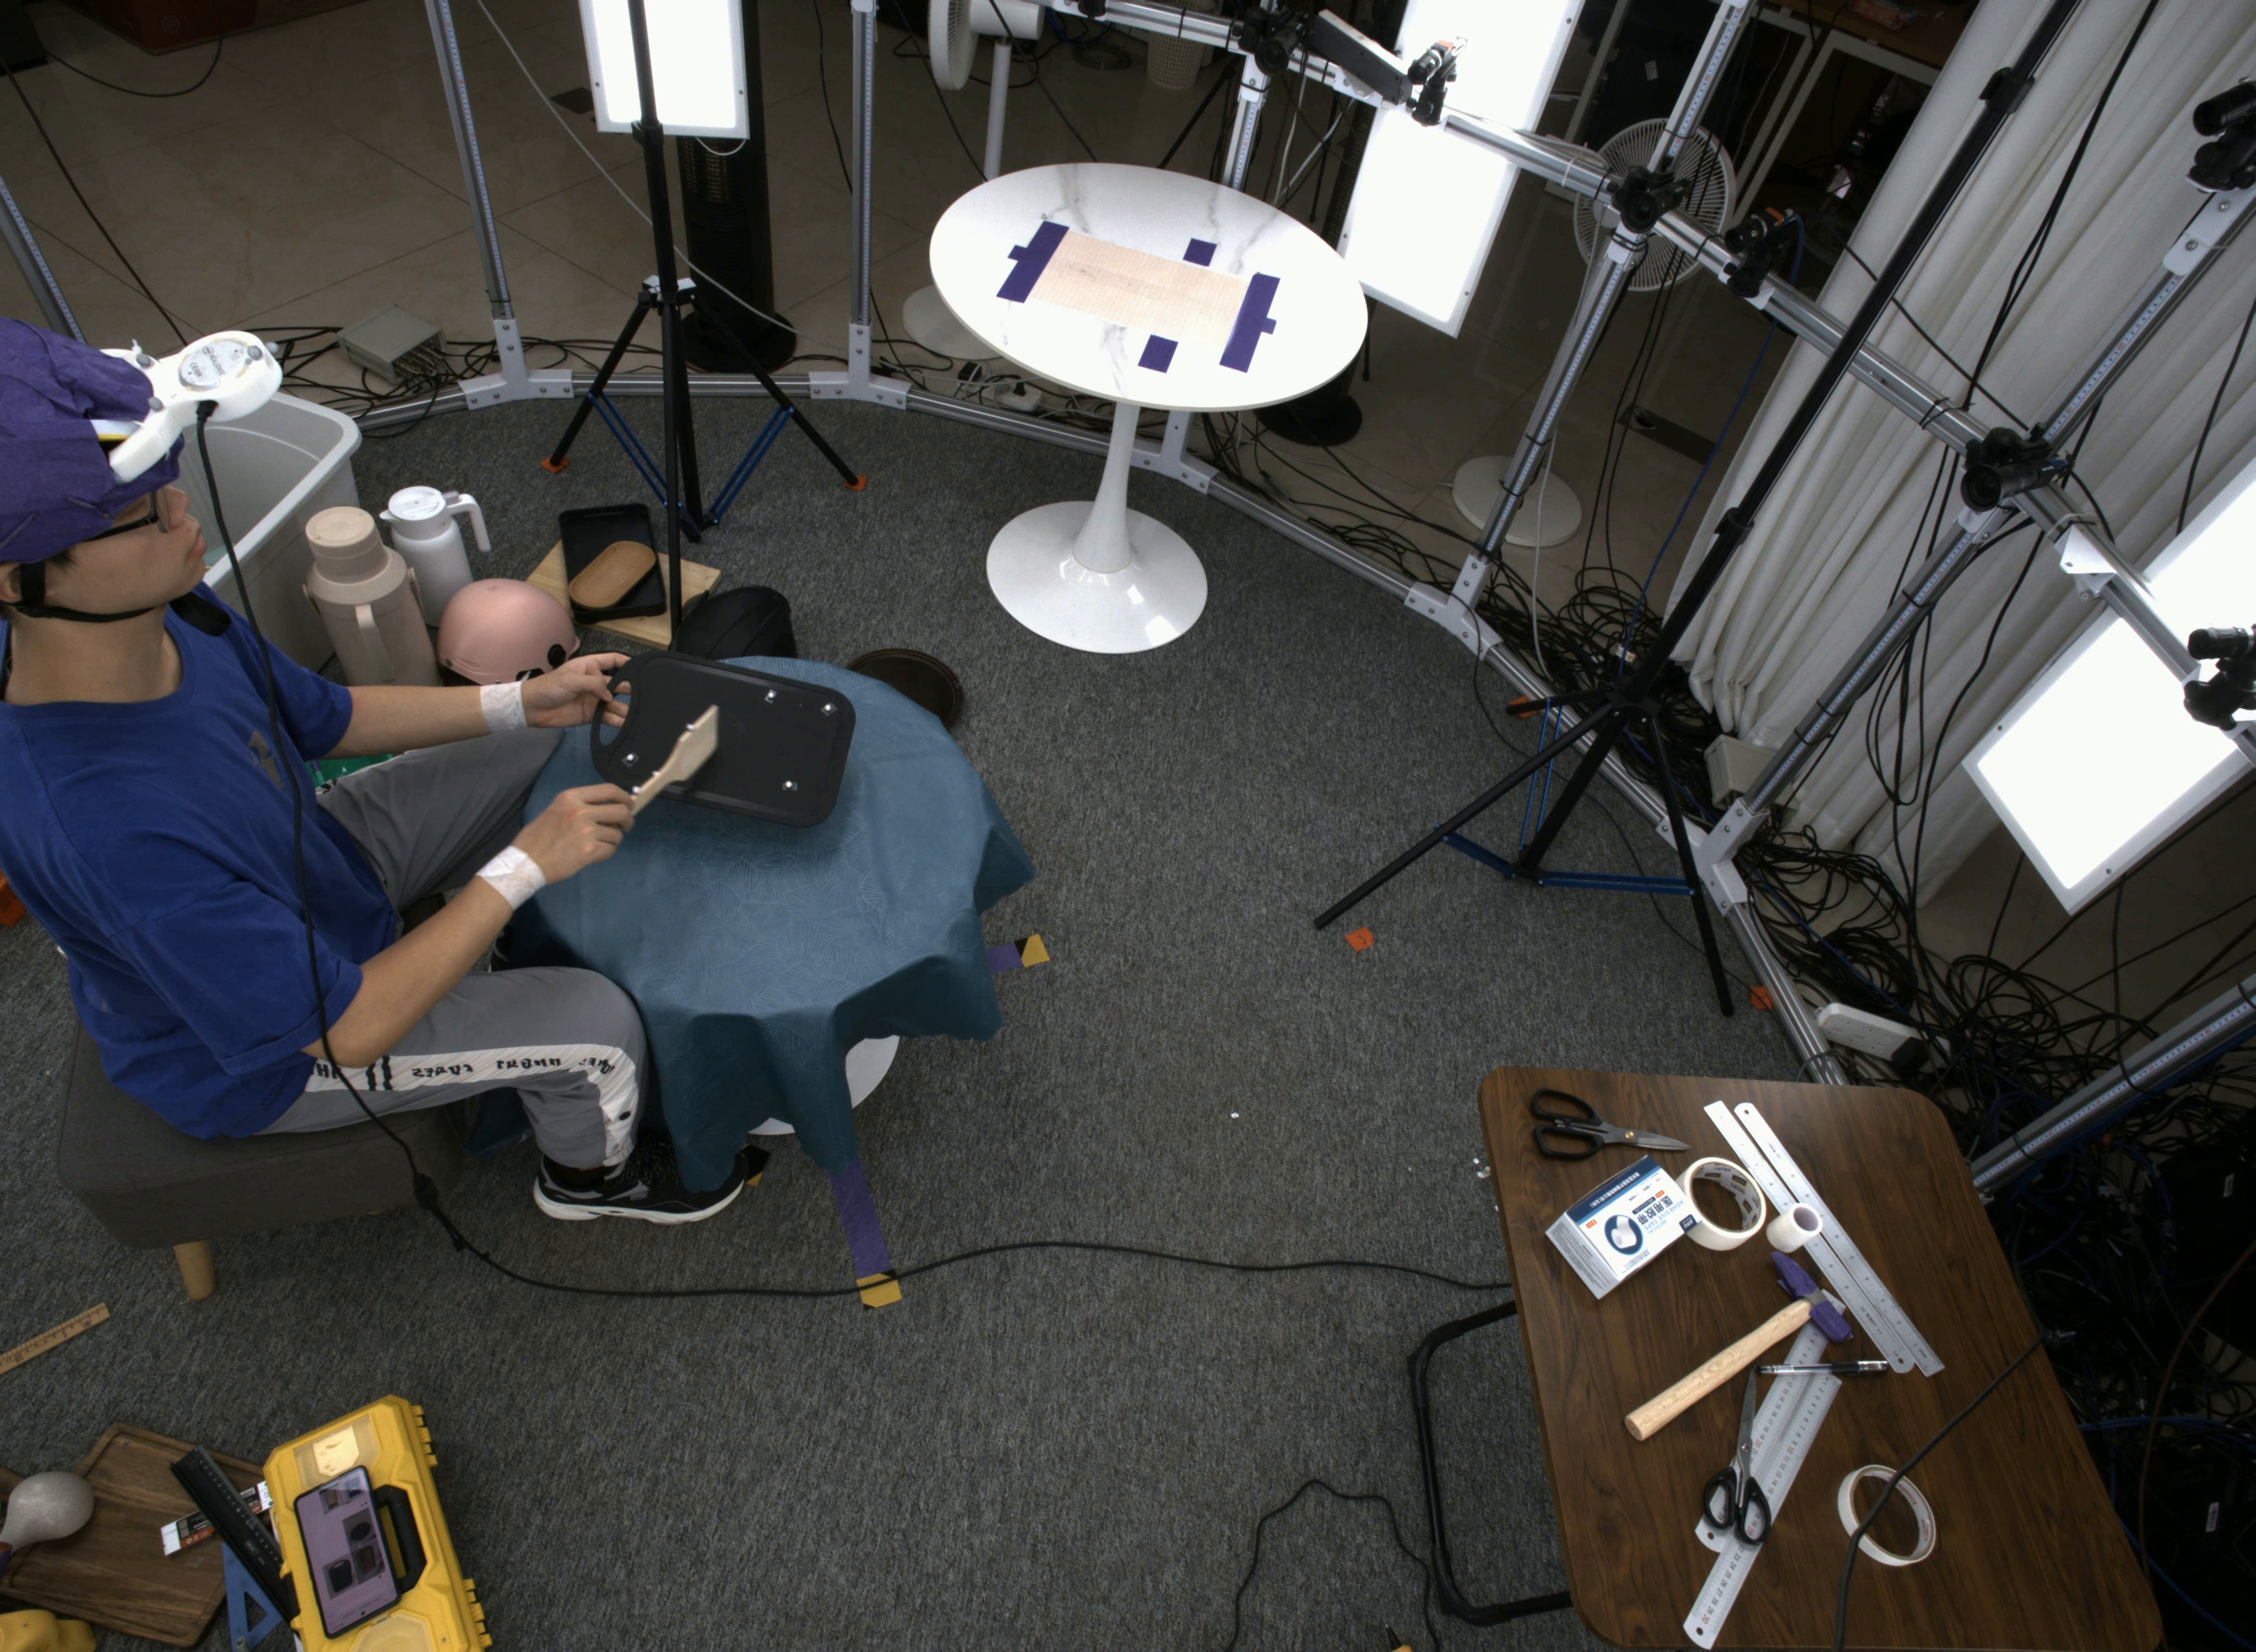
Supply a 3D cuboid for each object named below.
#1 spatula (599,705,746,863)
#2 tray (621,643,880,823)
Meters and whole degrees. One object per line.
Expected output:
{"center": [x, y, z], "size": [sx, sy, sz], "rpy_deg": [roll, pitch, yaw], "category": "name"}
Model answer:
{"center": [-0.544, -0.049, 1.549], "size": [0.010, 0.074, 0.291], "rpy_deg": [25, 42, 9], "category": "spatula"}
{"center": [-0.498, -0.126, 1.686], "size": [0.326, 0.010, 0.209], "rpy_deg": [14, 64, -11], "category": "tray"}
